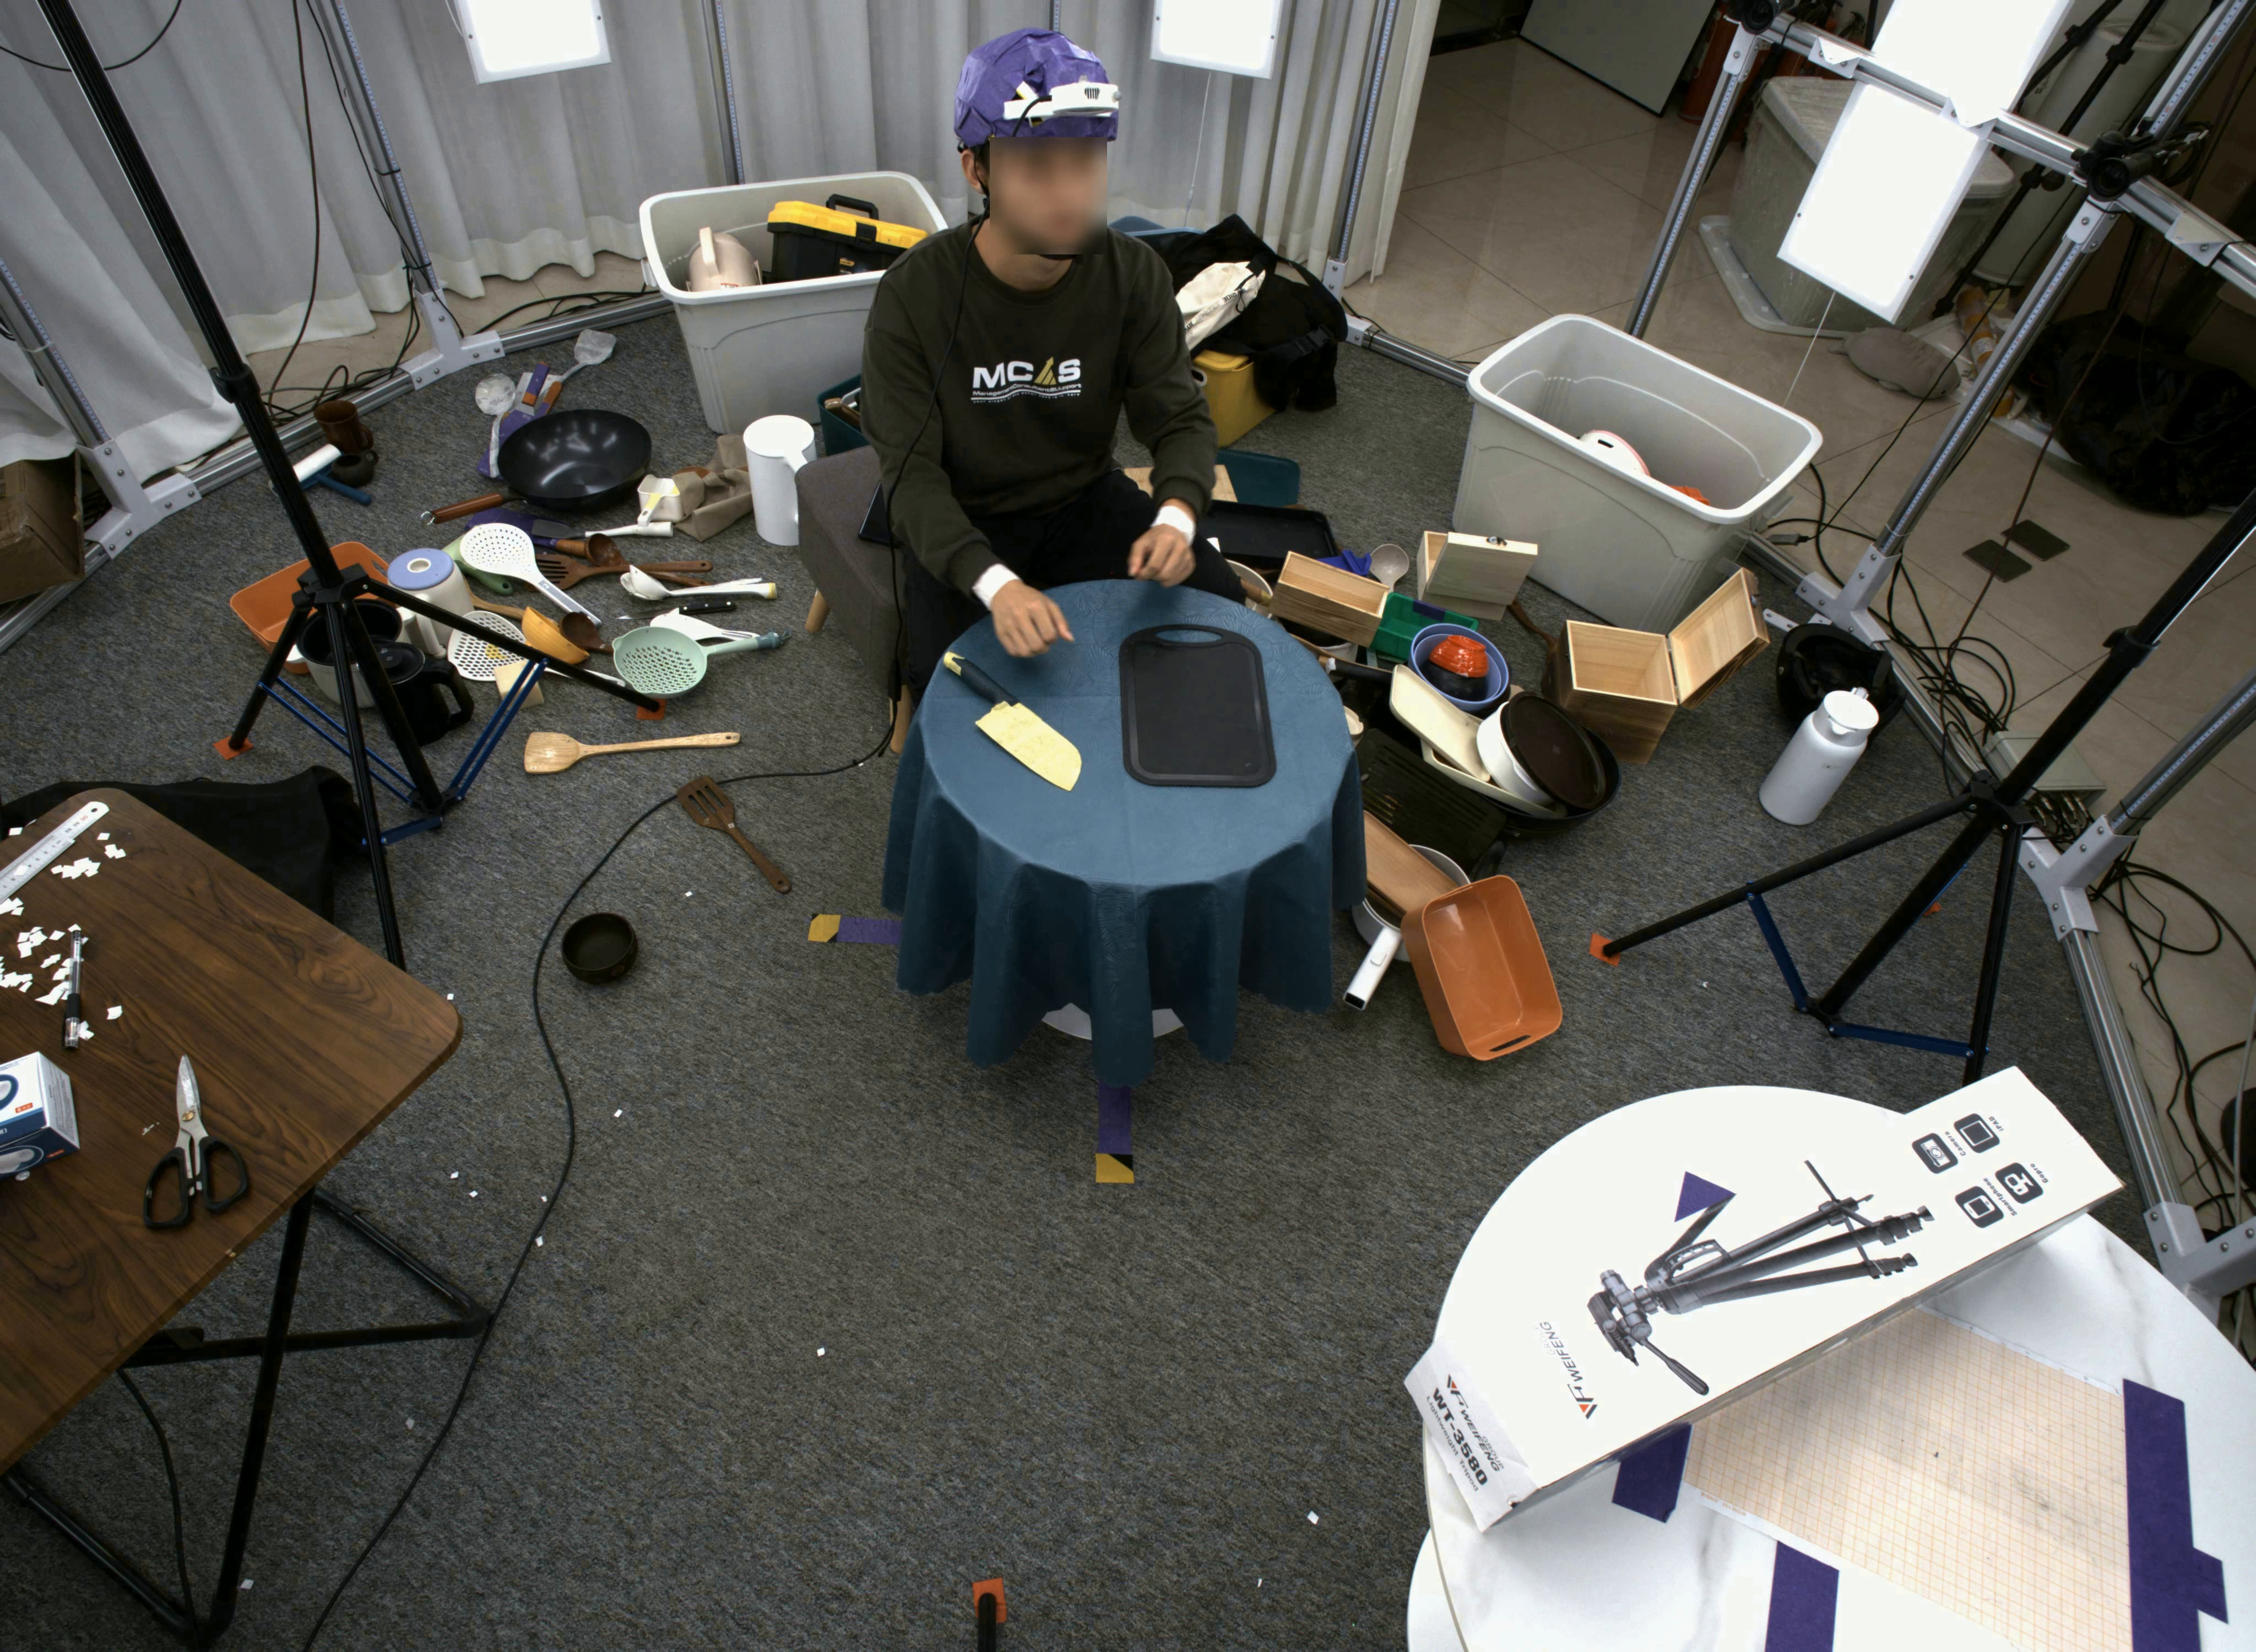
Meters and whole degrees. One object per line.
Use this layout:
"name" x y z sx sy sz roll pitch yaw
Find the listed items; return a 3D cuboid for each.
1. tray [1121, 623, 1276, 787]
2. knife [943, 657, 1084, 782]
"tray" 0.095 -0.181 1.825 0.211 0.009 0.333 1 49 -3
"knife" -0.167 -0.147 1.774 0.081 0.026 0.294 -33 59 -30
